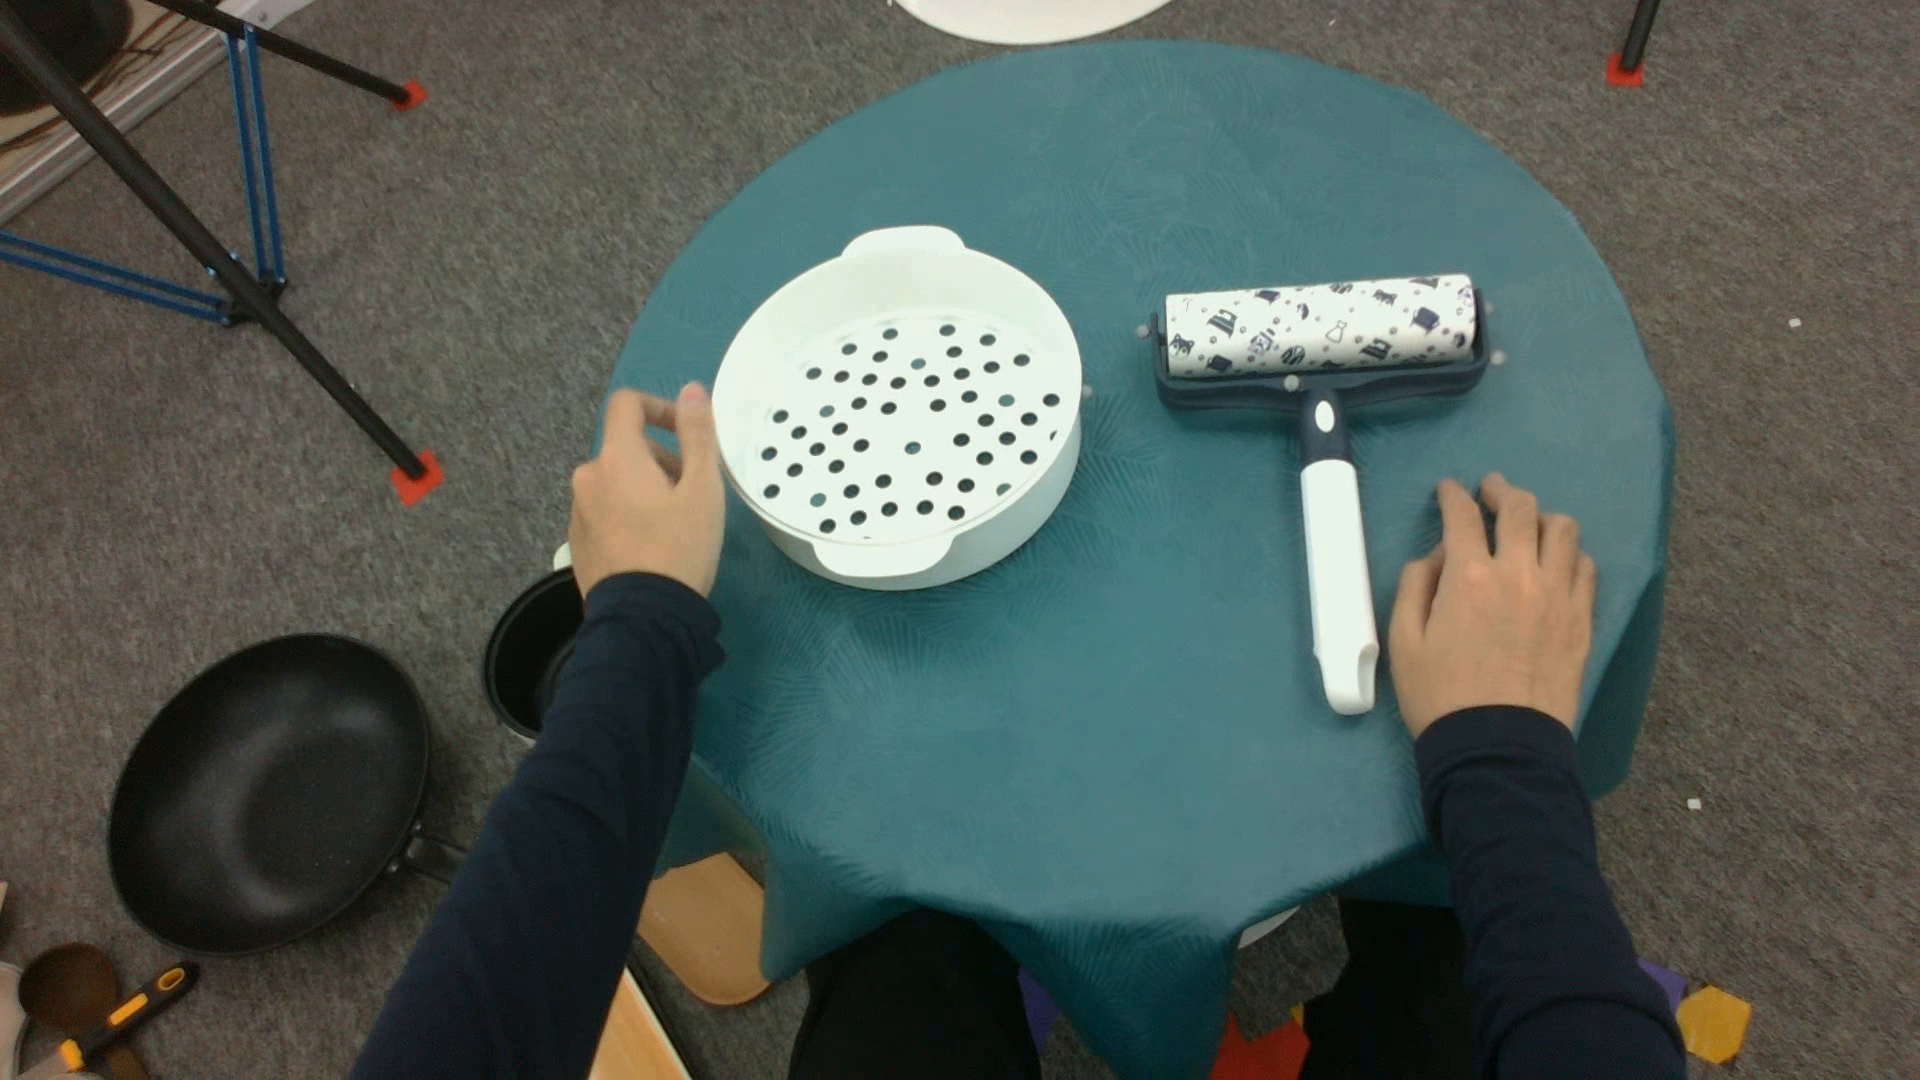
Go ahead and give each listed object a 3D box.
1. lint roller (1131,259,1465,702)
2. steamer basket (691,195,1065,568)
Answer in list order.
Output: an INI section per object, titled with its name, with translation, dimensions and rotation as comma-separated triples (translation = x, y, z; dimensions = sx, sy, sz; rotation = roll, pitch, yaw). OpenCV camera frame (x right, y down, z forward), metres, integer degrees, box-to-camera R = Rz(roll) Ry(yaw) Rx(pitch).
[lint roller]
translation = 0.183, -0.038, 0.713
dimensions = 0.176, 0.050, 0.248
rotation = -3, 62, 6
[steamer basket]
translation = -0.042, -0.081, 0.759
dimensions = 0.202, 0.069, 0.231
rotation = -3, 63, 8
